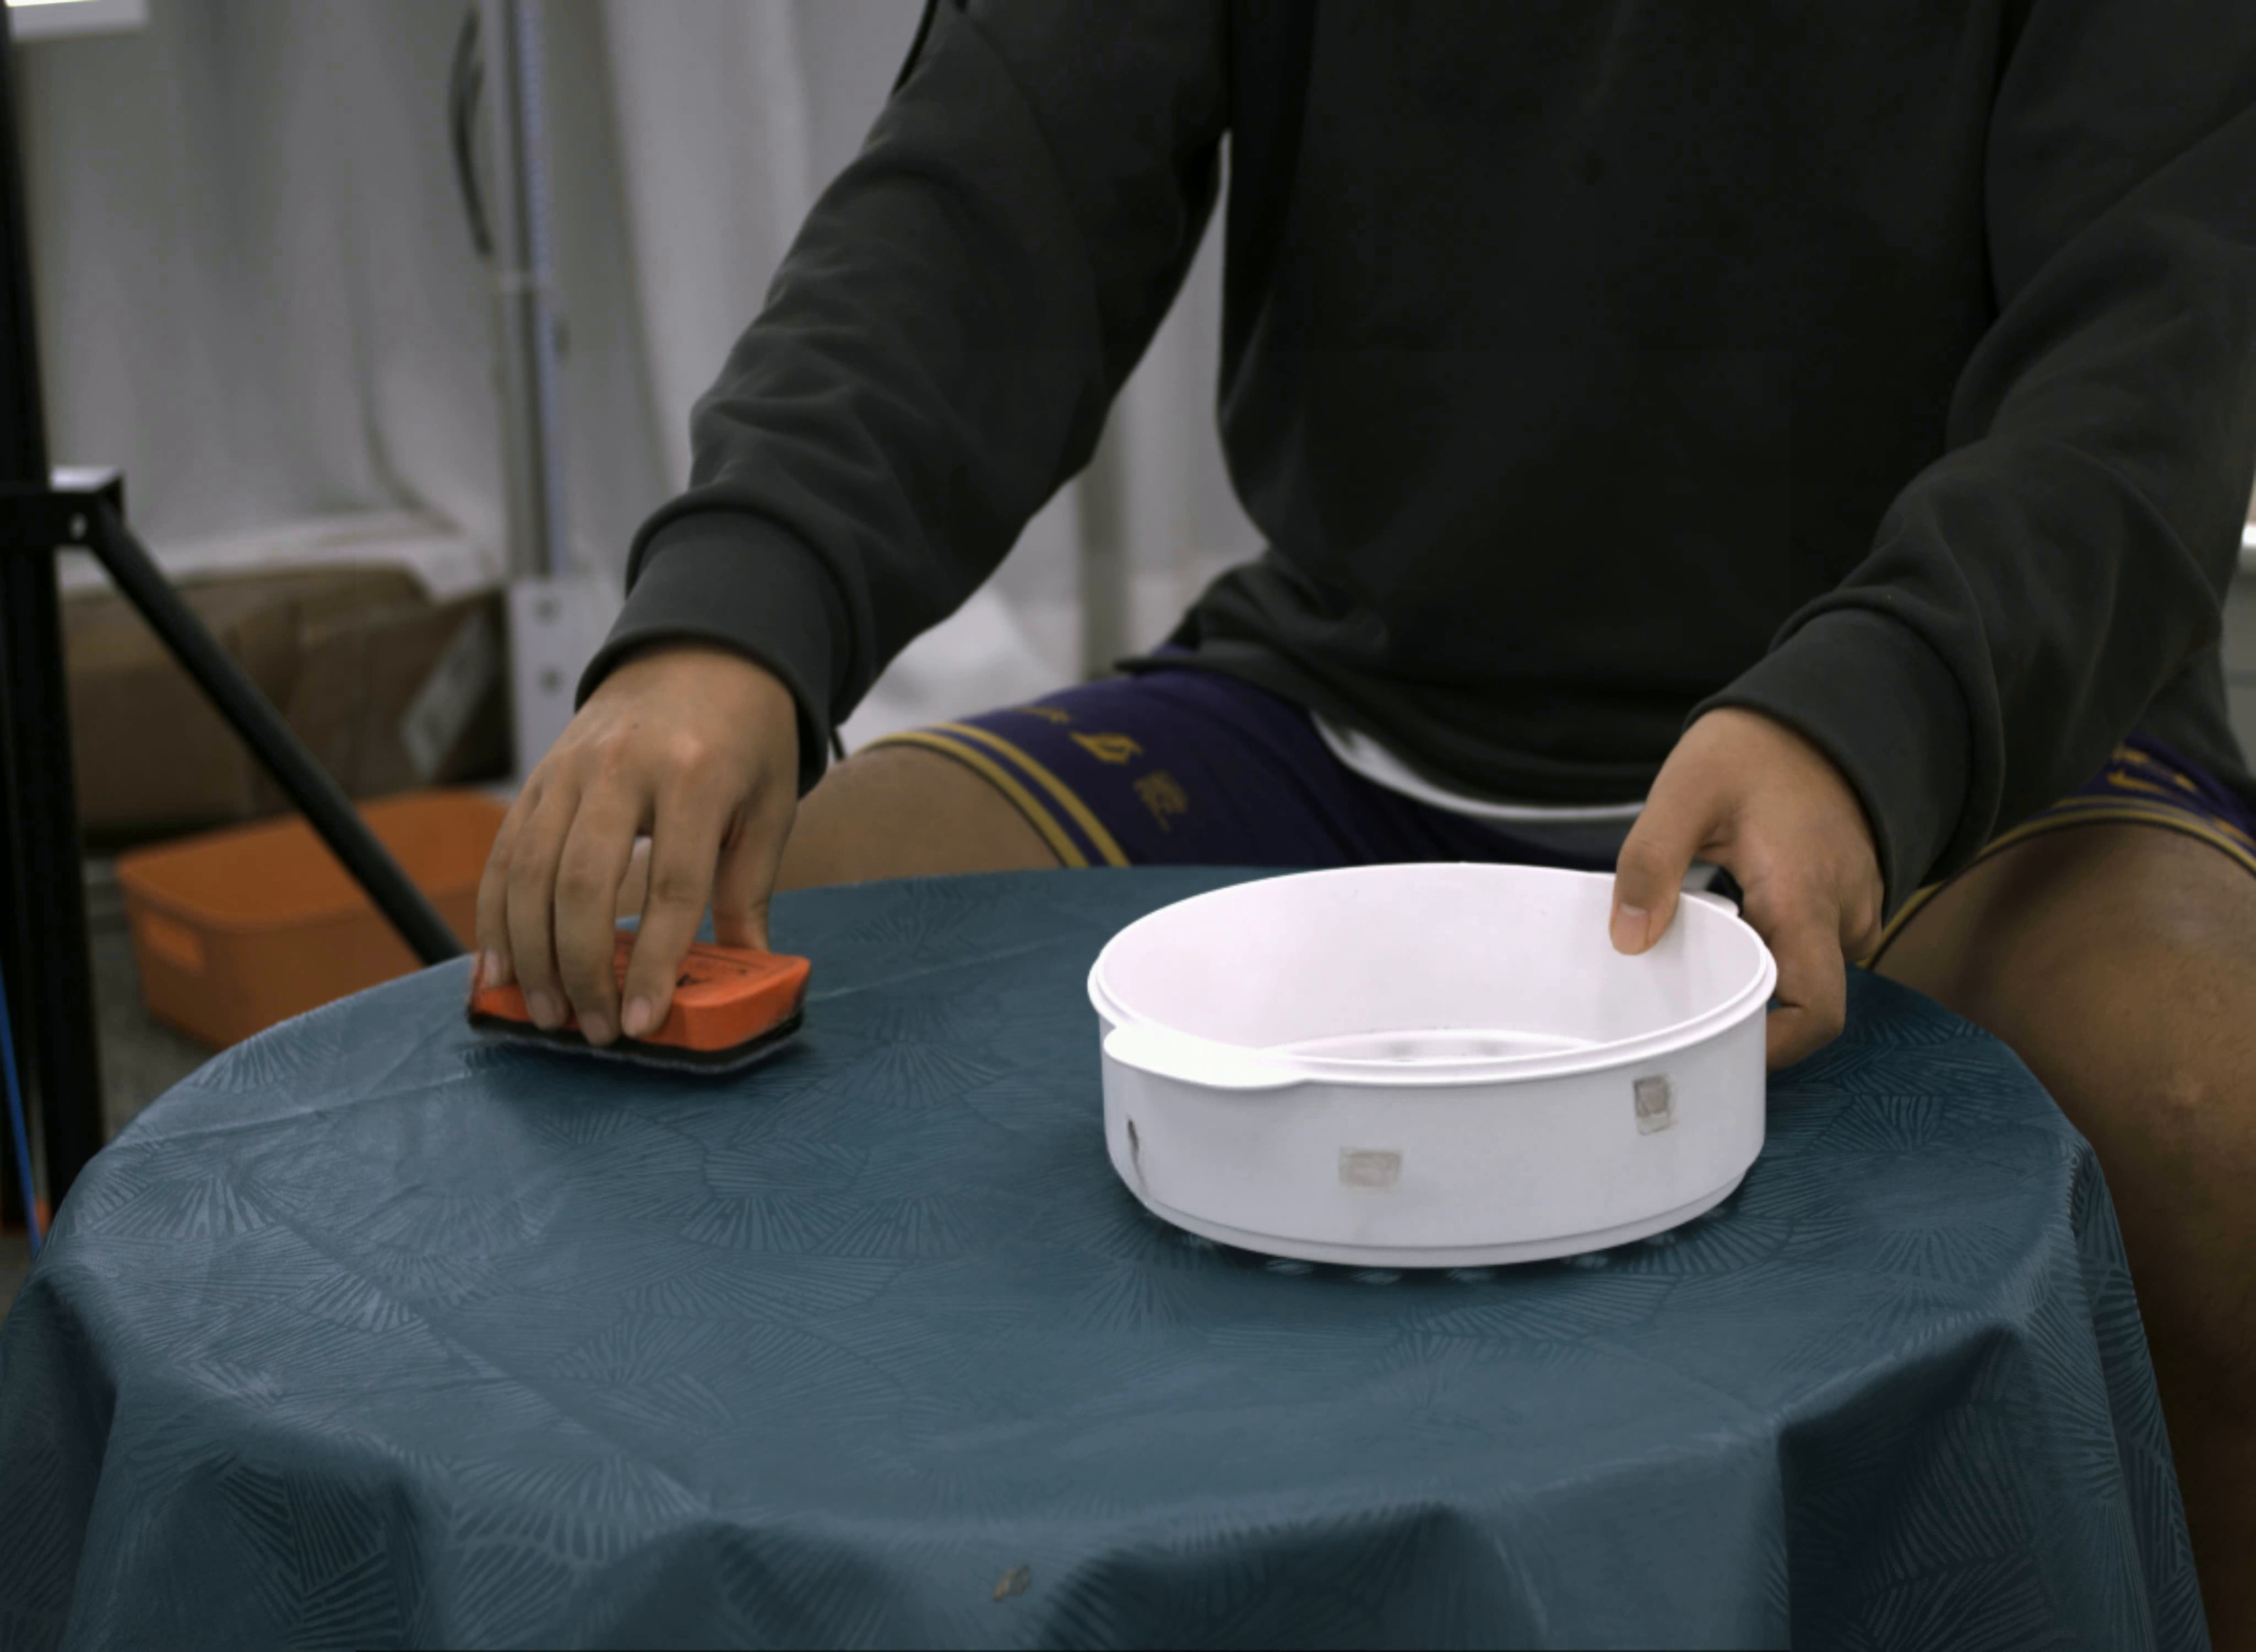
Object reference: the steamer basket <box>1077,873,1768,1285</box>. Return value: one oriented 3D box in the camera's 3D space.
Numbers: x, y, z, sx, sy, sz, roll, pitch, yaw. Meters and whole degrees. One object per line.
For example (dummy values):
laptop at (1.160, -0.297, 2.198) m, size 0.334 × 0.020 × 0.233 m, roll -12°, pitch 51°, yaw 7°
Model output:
steamer basket at (0.086, 0.074, 1.549) m, size 0.206 × 0.069 × 0.225 m, roll 12°, pitch 22°, yaw 43°

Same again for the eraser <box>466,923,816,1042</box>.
eraser at (-0.157, 0.050, 1.711) m, size 0.110 × 0.023 × 0.057 m, roll 6°, pitch 9°, yaw 34°
